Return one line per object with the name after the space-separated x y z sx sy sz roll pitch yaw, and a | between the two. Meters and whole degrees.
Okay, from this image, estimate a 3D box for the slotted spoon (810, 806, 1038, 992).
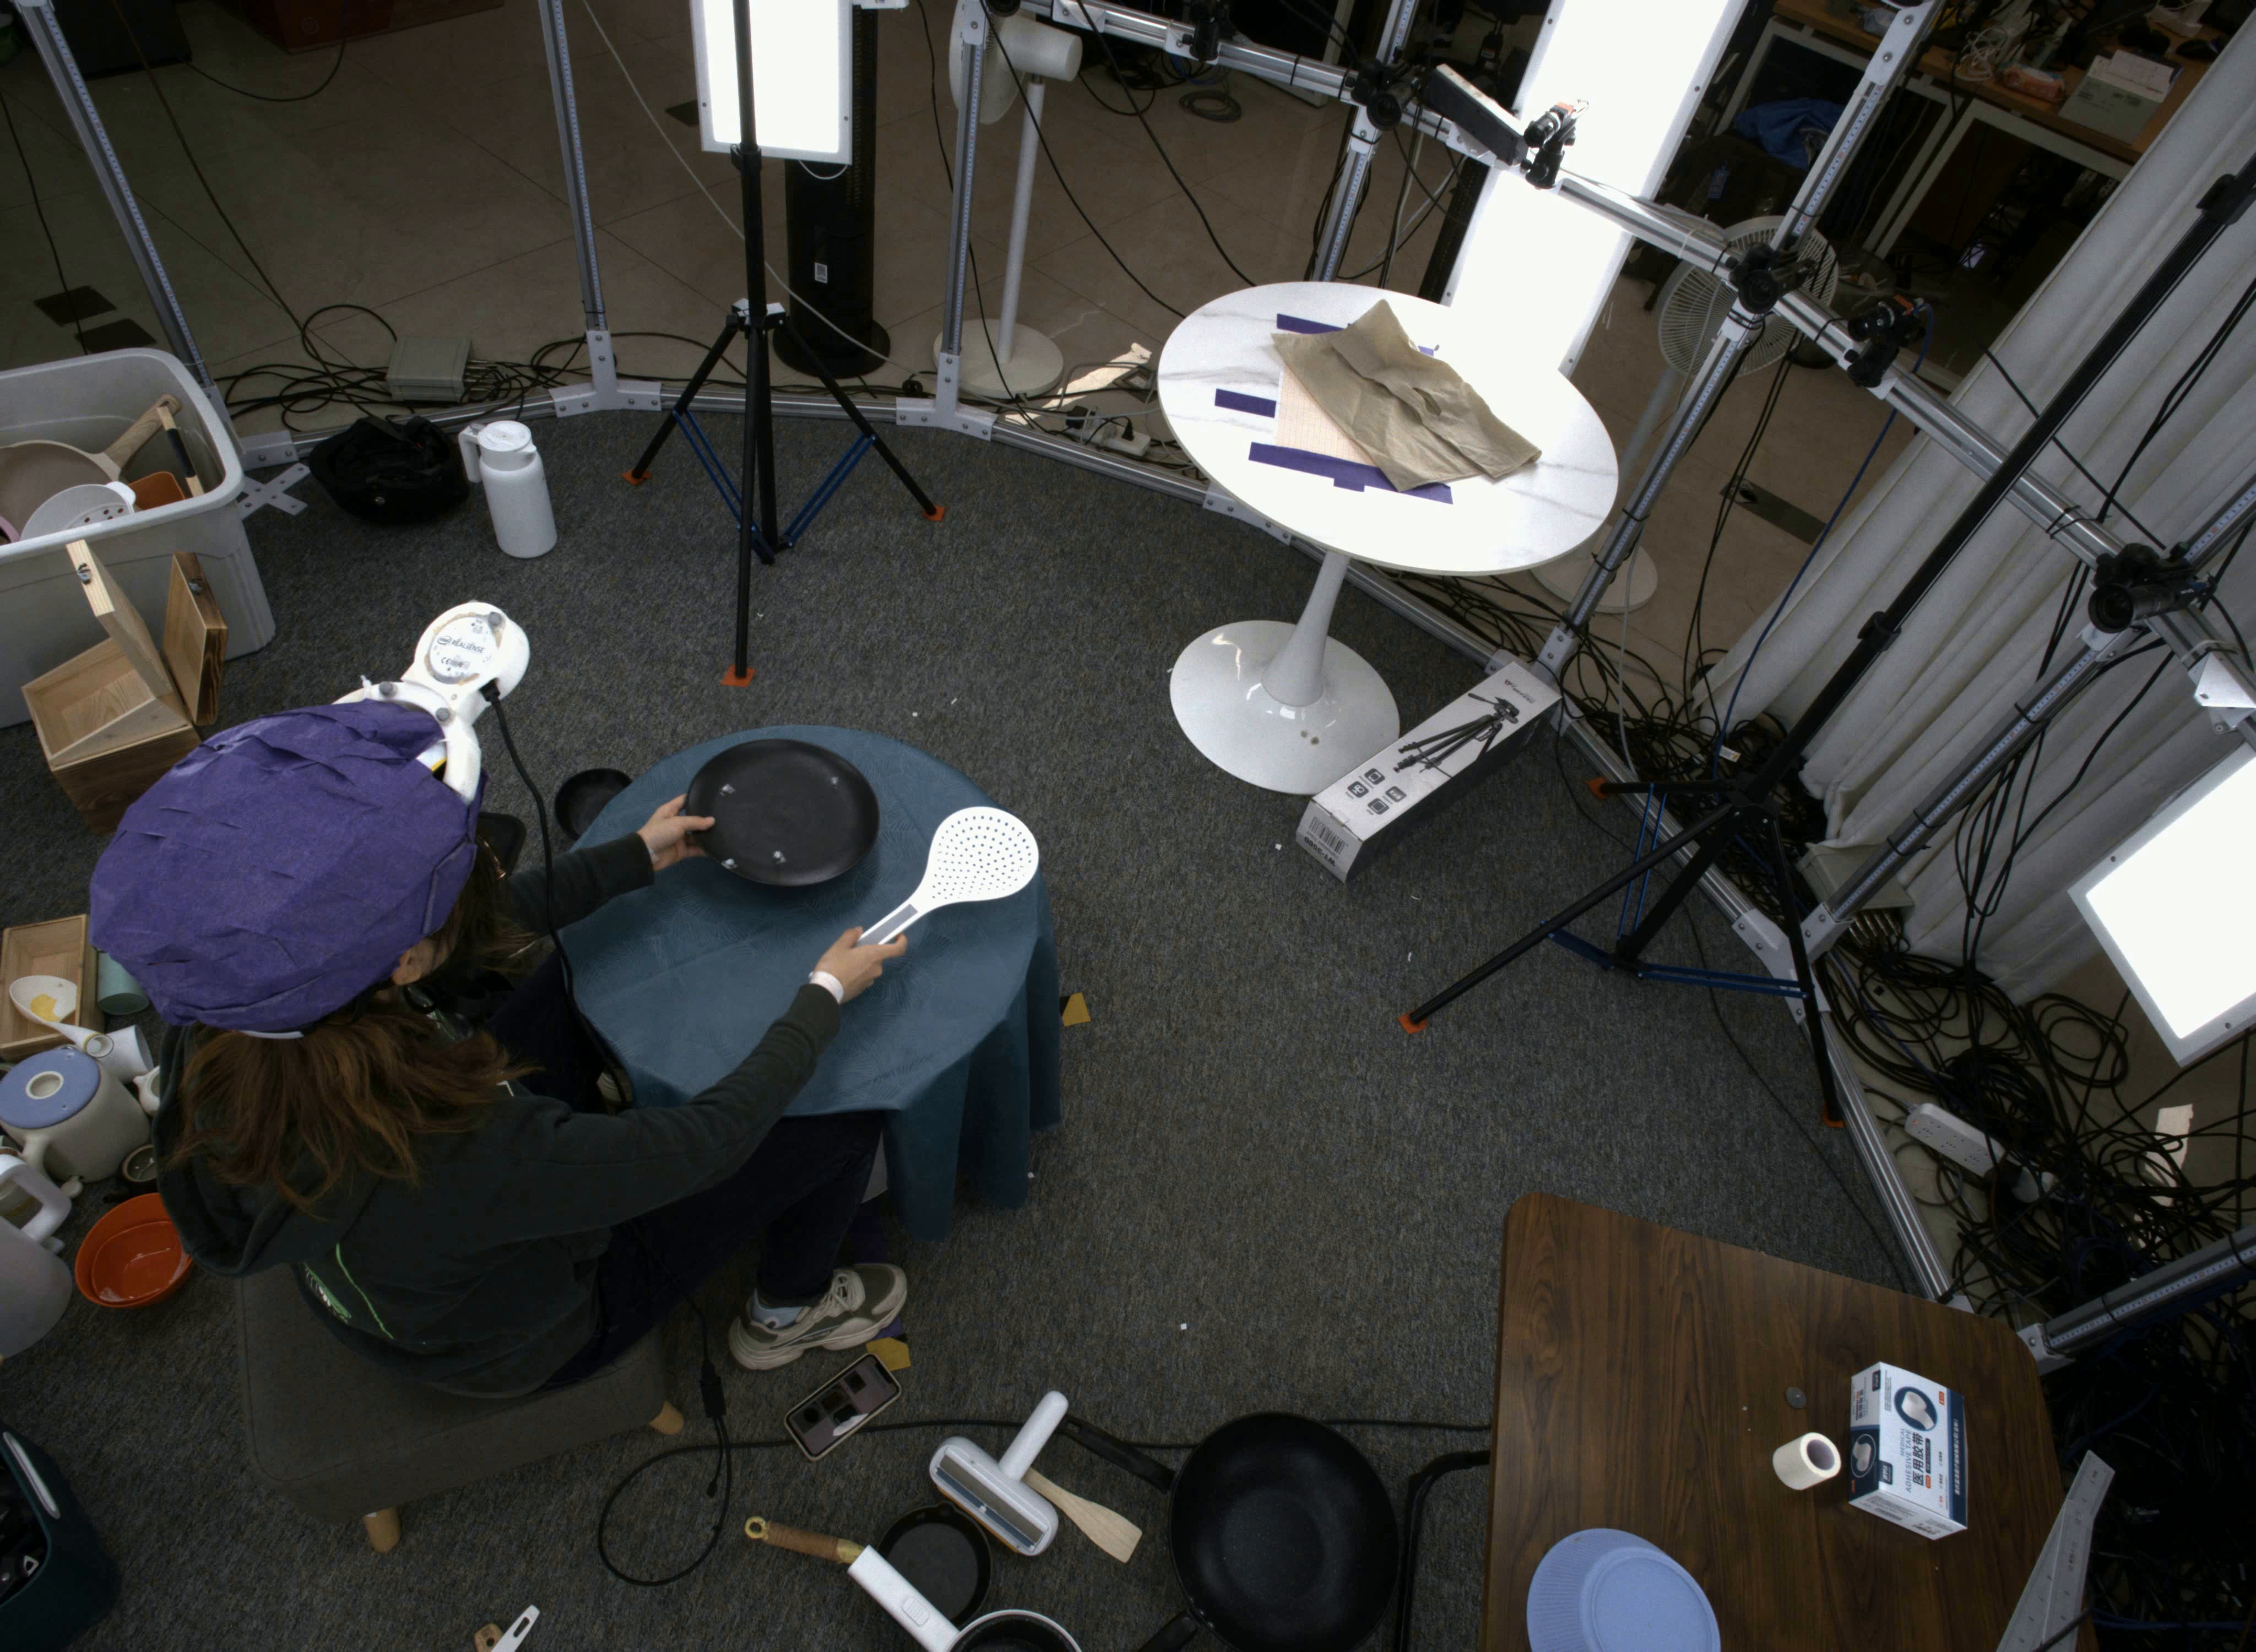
-0.254 0.092 1.623 0.134 0.046 0.350 43 52 11 | slotted spoon

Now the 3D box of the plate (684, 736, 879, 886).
-0.443 -0.018 1.659 0.245 0.024 0.240 12 49 -13 | plate
